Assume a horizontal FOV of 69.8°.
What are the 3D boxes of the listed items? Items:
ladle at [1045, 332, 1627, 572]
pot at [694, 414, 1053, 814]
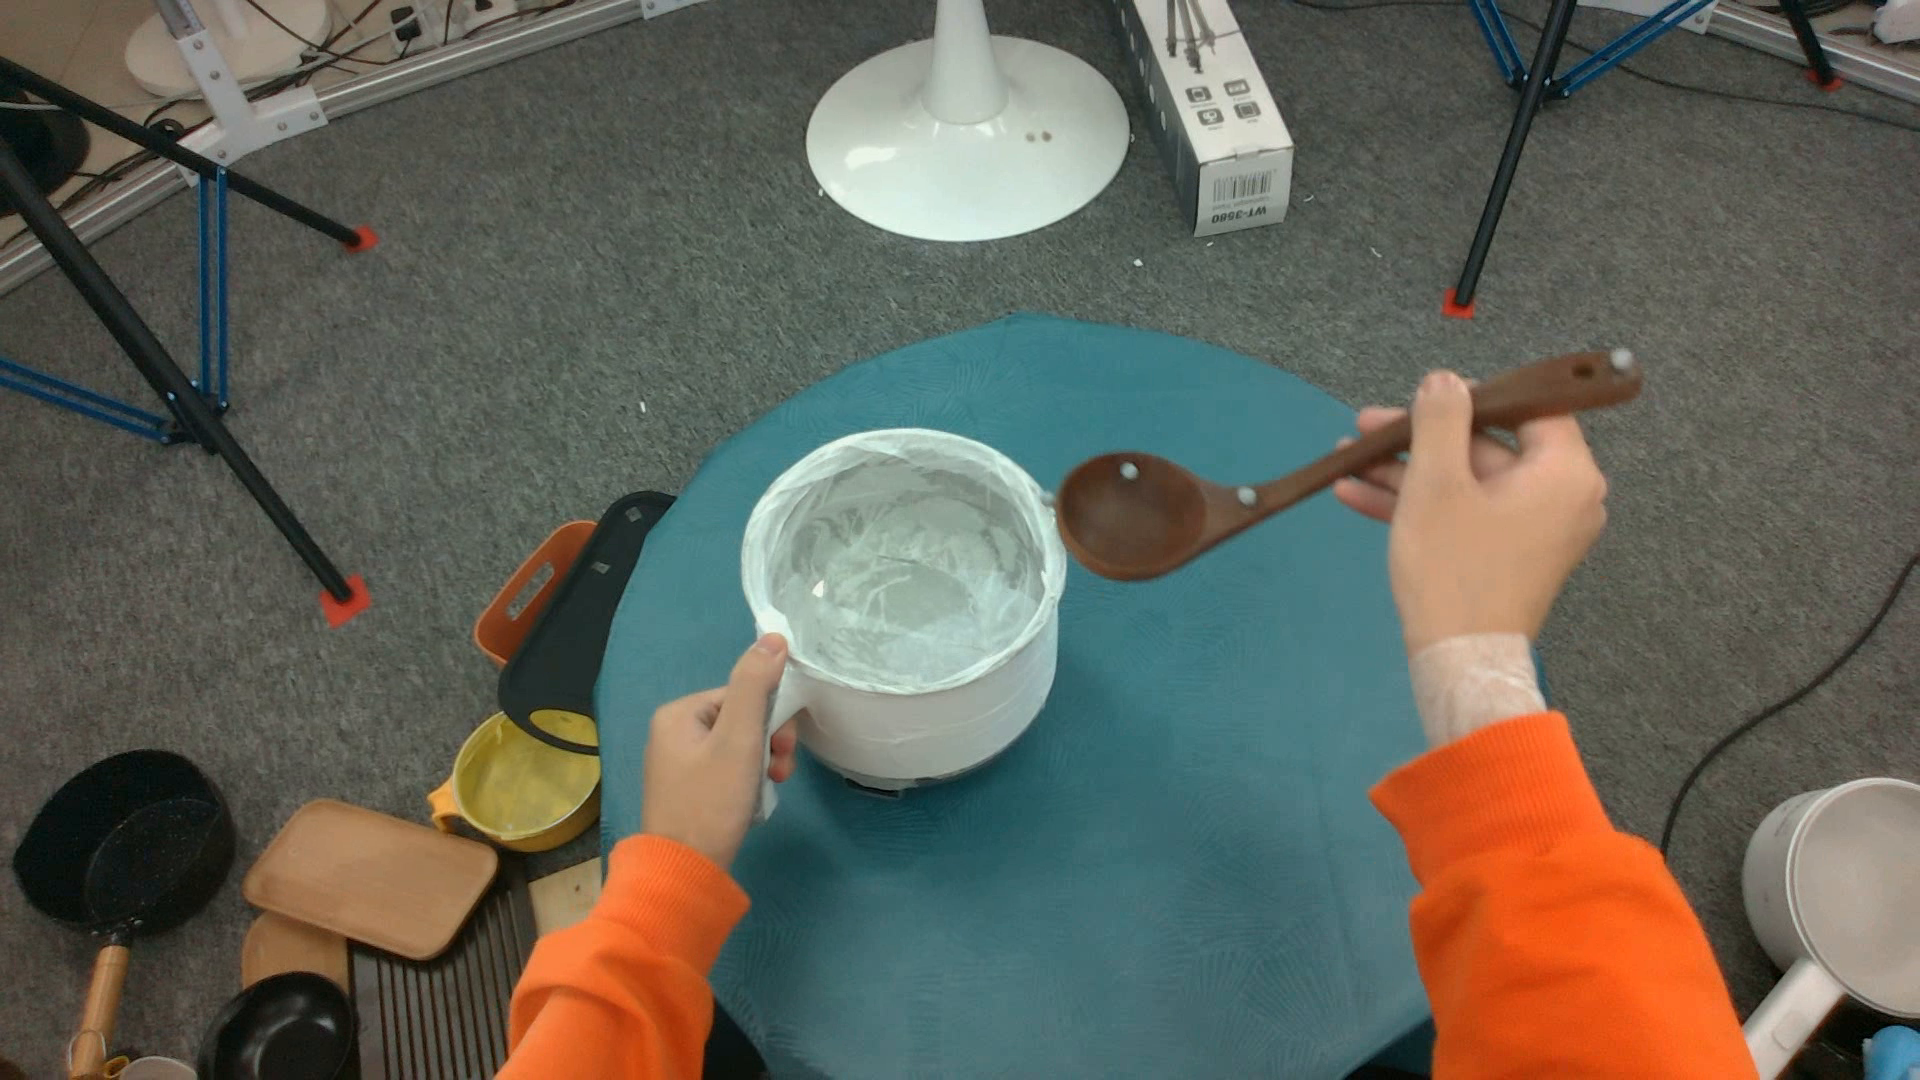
[{"bbox_3d":[0.157,-0.048,0.618,0.259,0.065,0.077,-21,53,32],"label":"ladle"},{"bbox_3d":[-0.057,0.052,0.782,0.179,0.136,0.234,35,61,23],"label":"pot"}]
